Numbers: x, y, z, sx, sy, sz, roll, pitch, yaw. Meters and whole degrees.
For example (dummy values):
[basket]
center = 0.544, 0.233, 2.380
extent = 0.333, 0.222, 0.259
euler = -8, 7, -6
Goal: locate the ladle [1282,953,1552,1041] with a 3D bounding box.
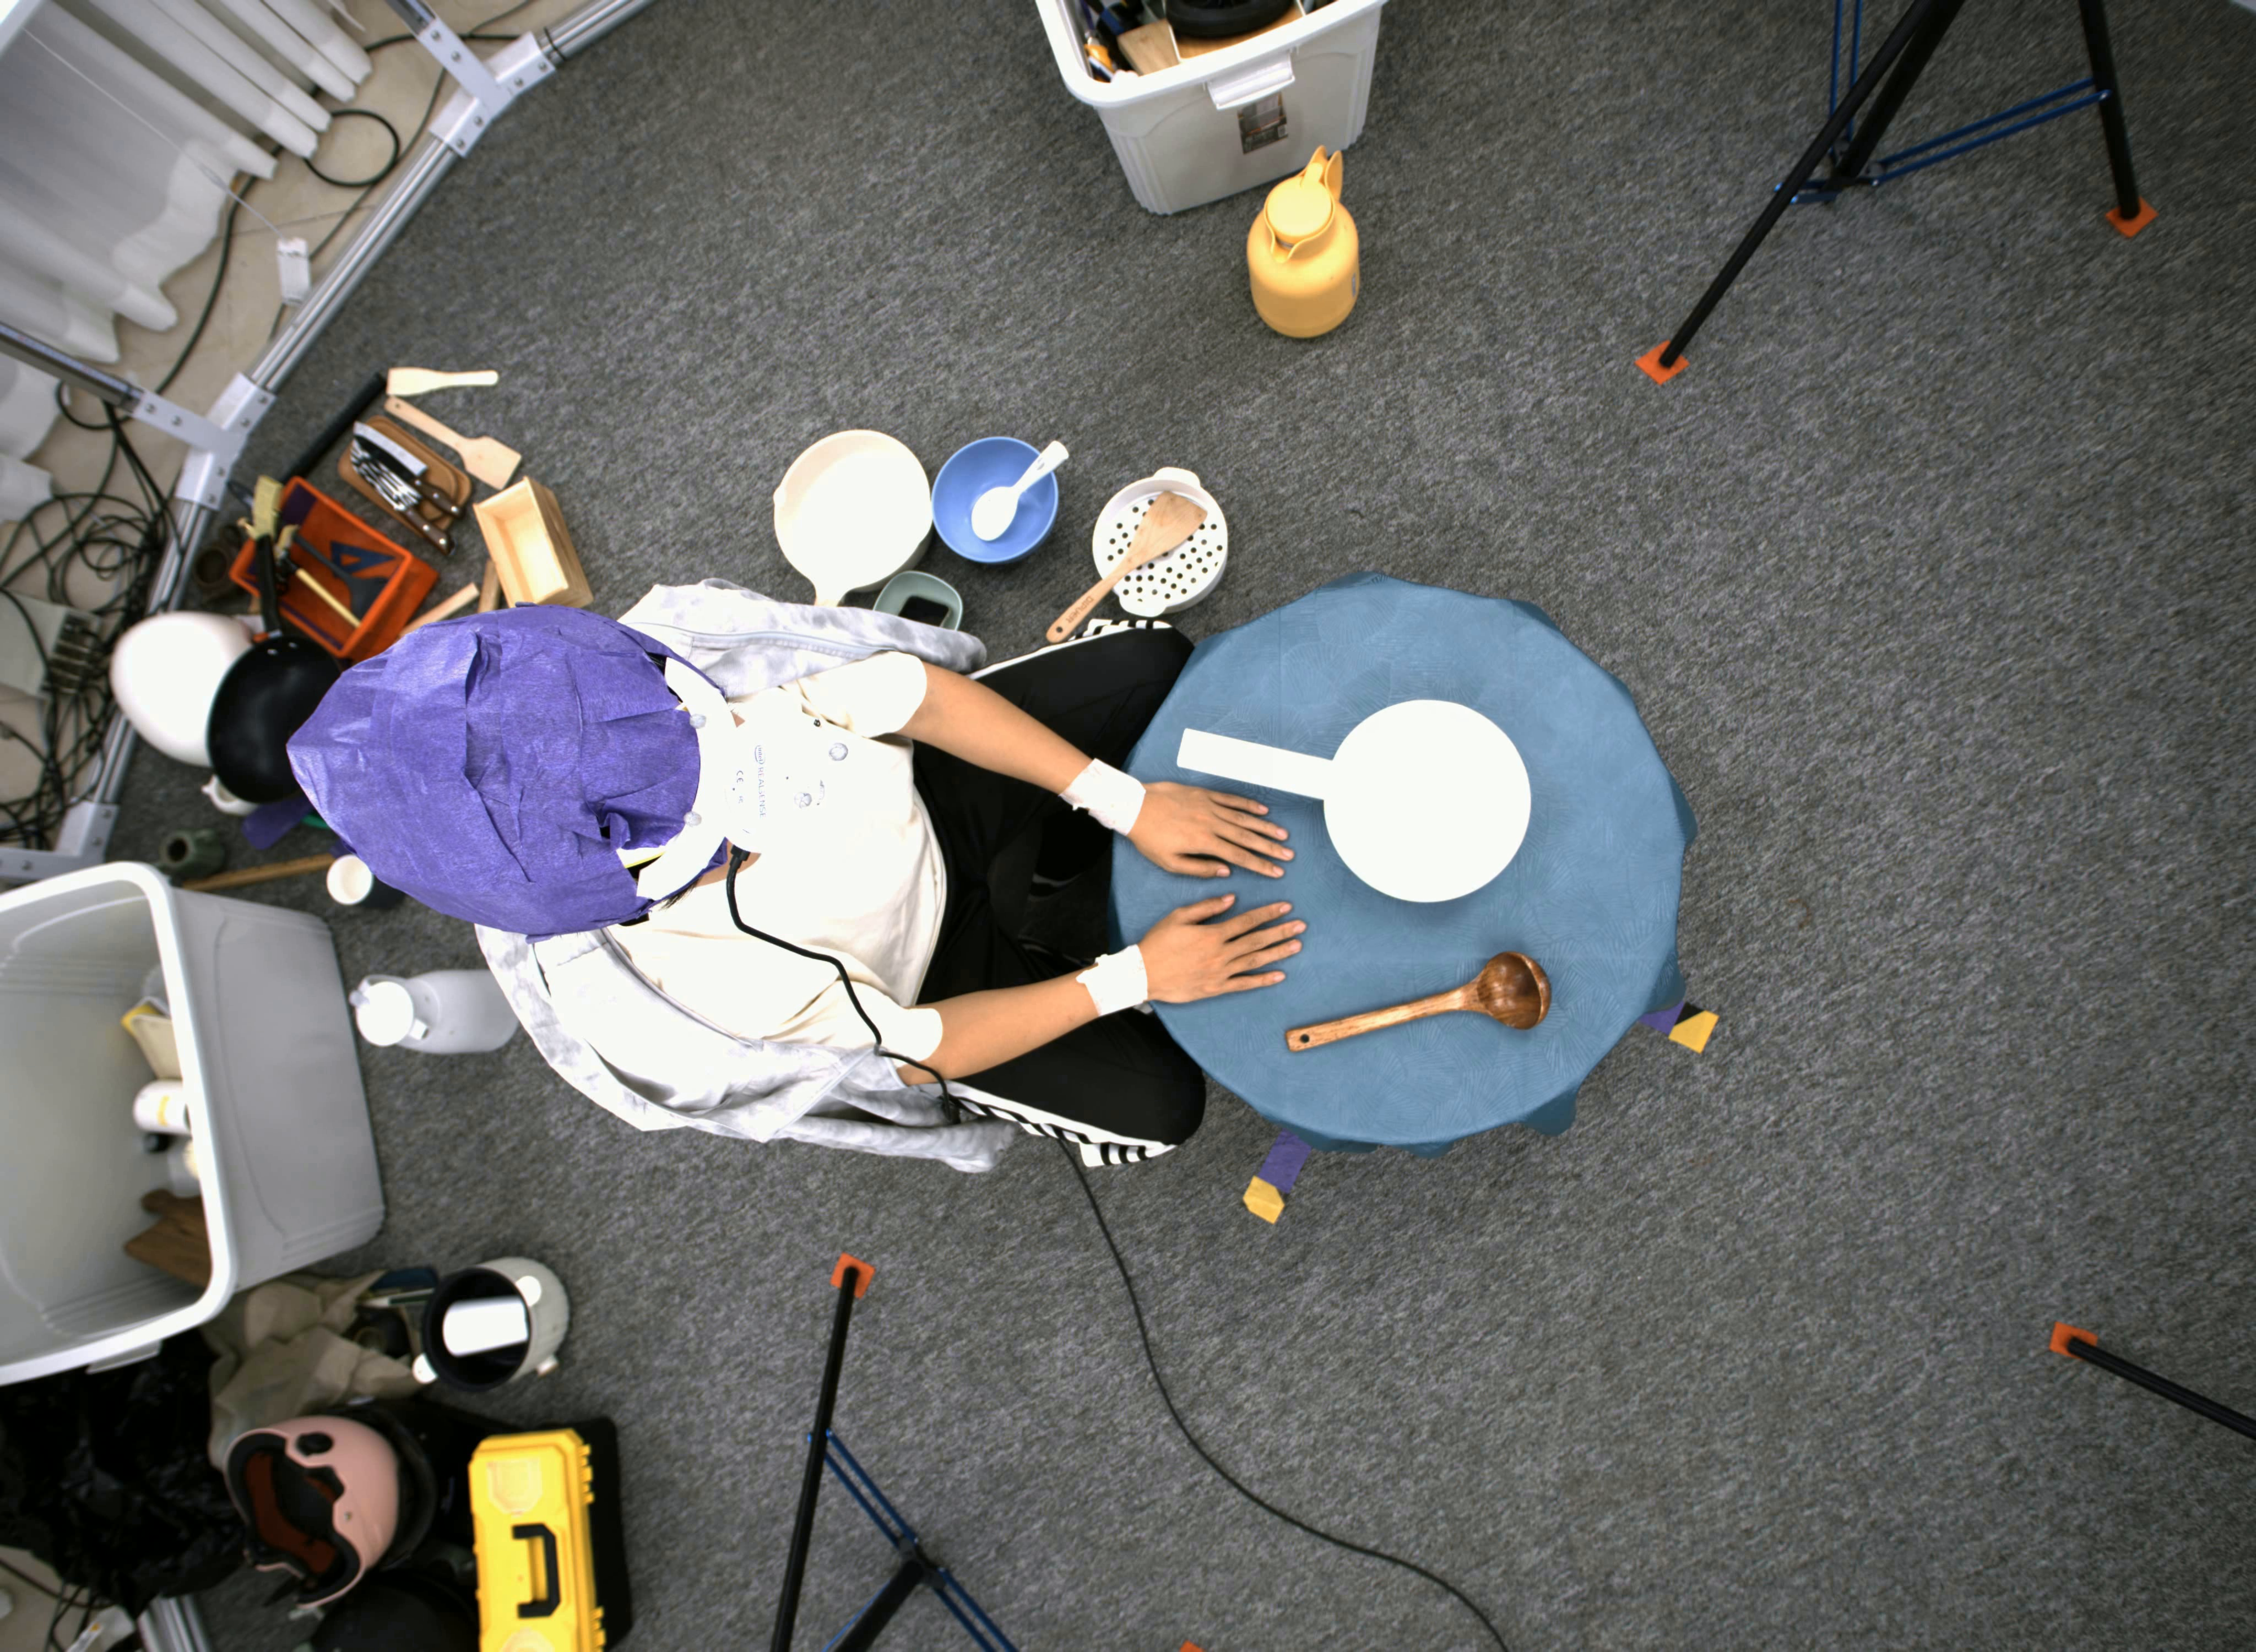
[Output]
[ladle]
center = 0.292, 0.188, 1.407
extent = 0.275, 0.076, 0.081
euler = -12, 84, 9

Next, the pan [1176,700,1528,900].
[pan]
center = 0.228, -0.041, 1.422
extent = 0.355, 0.102, 0.201
euler = 14, 90, 12
